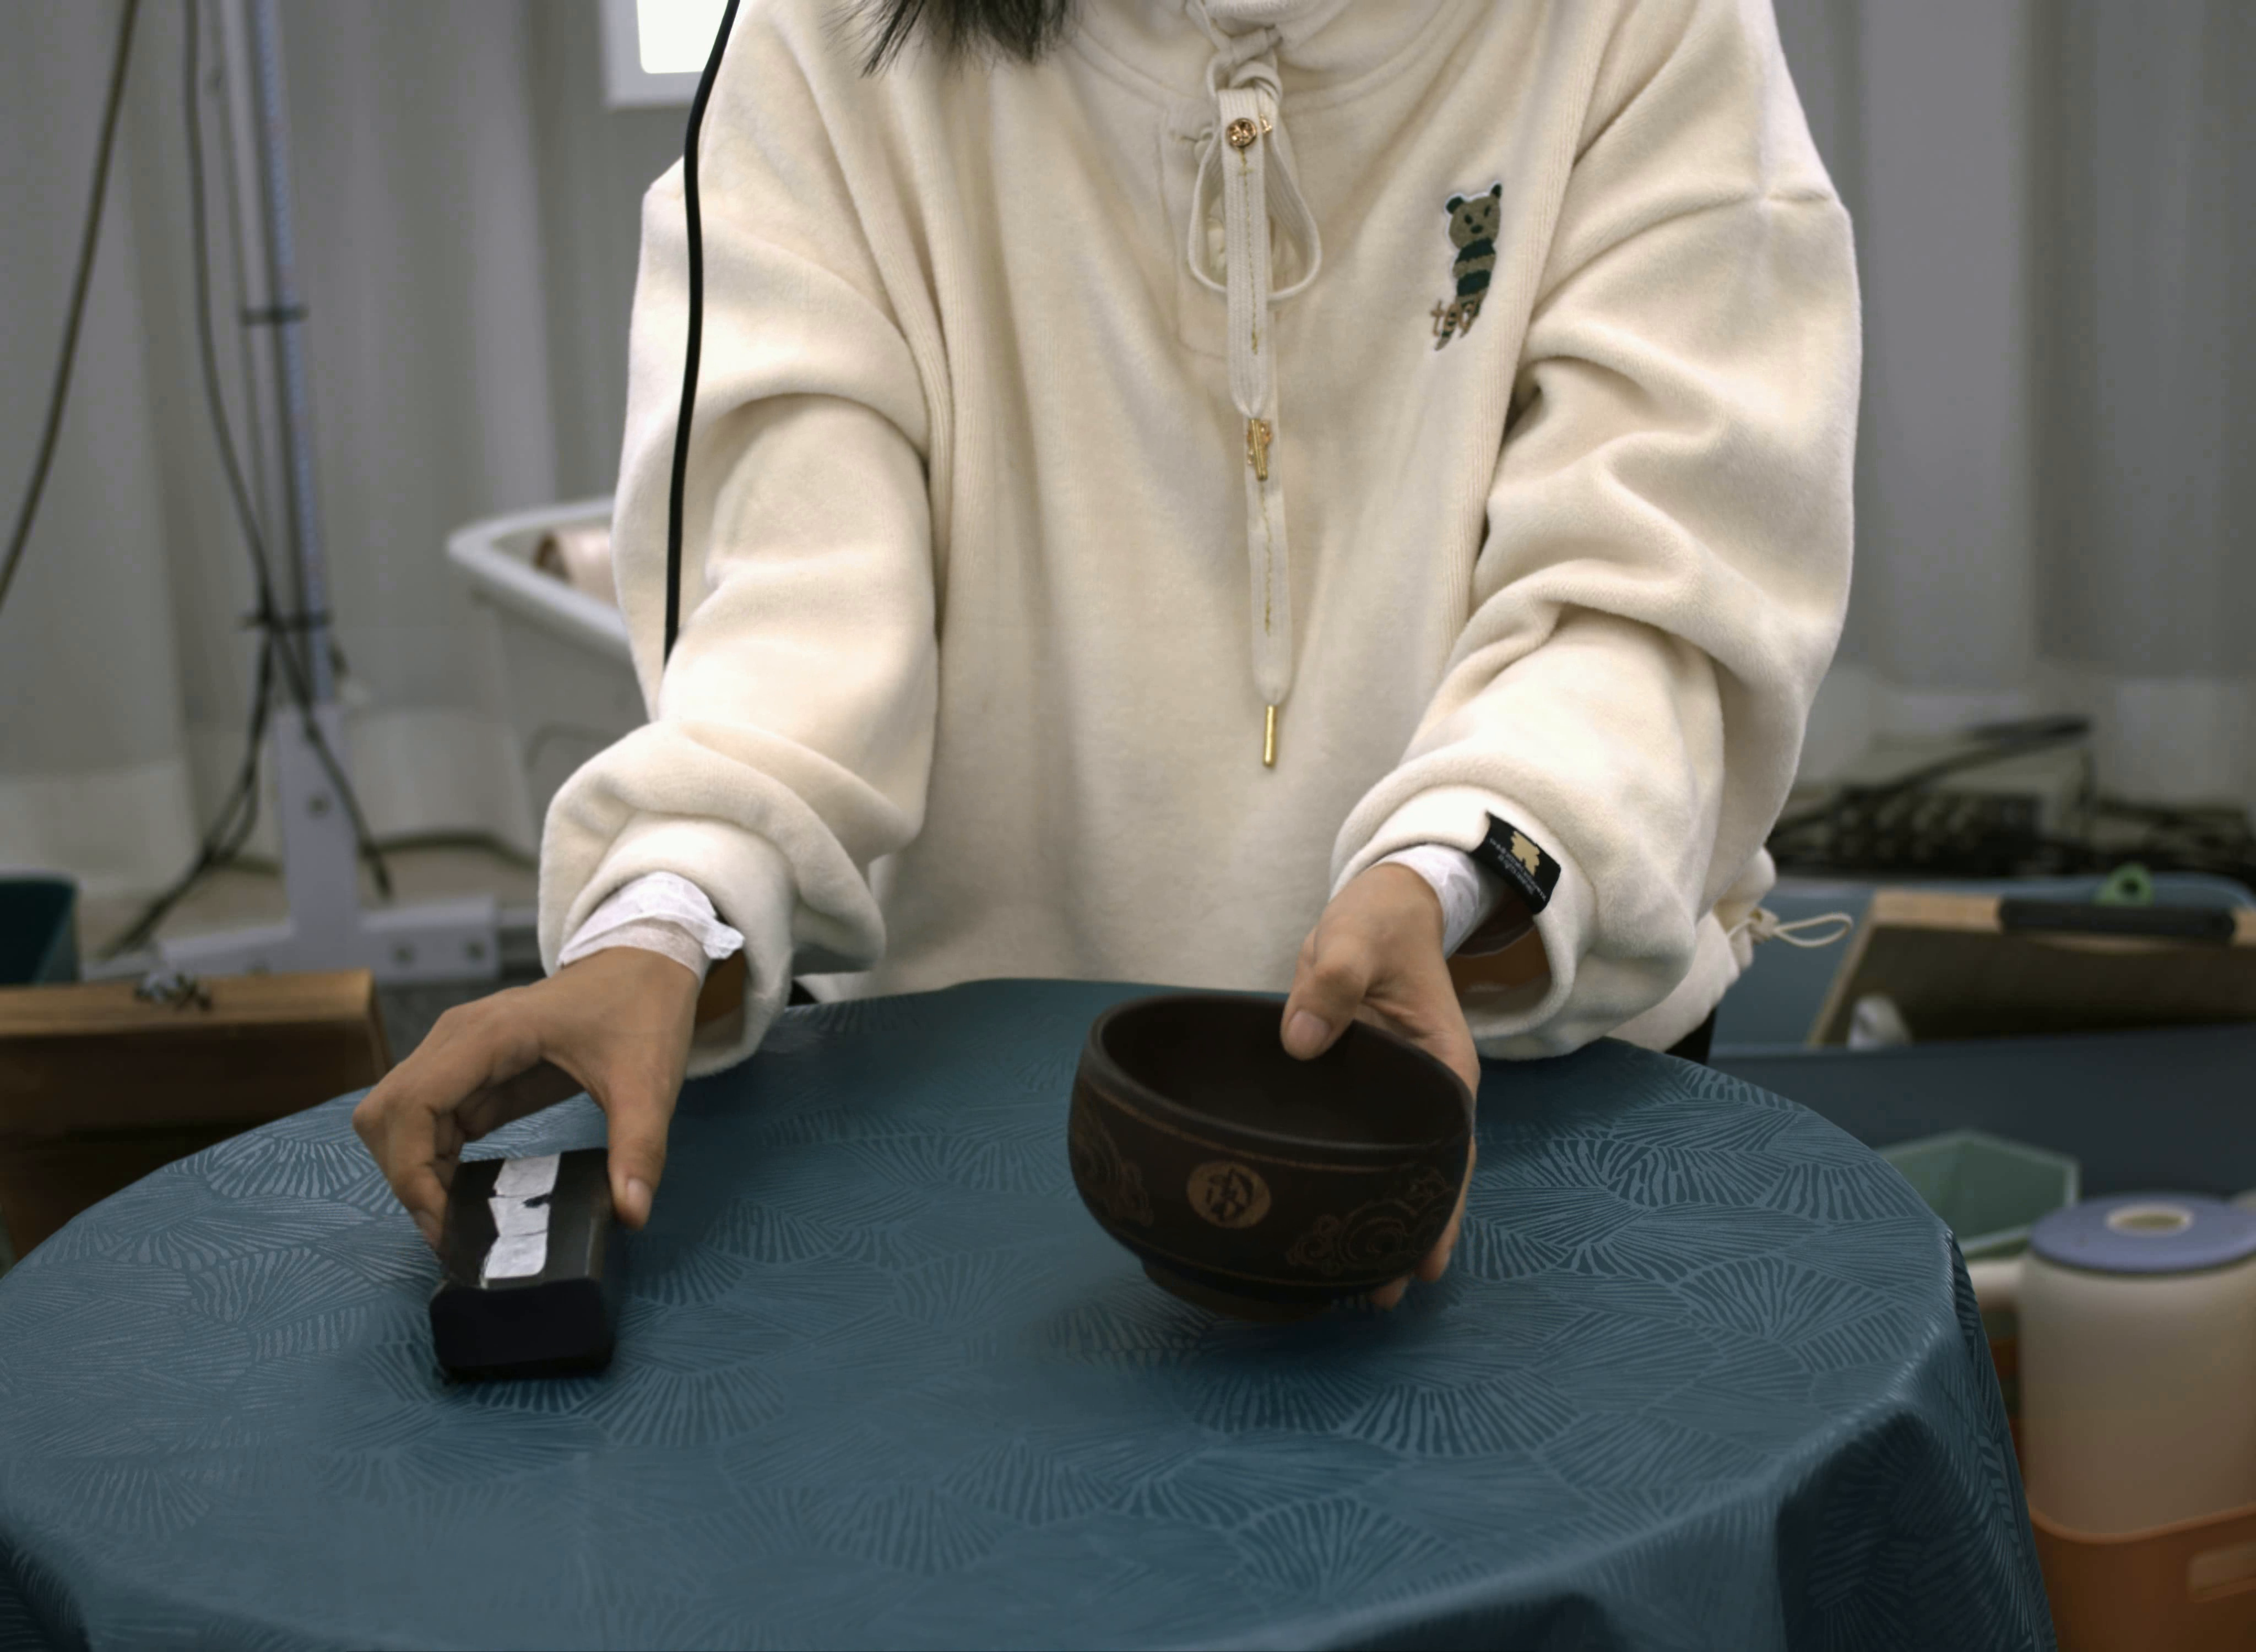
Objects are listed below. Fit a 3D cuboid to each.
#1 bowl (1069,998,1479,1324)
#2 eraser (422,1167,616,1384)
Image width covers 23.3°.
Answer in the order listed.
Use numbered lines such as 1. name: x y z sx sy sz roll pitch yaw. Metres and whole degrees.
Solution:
1. bowl: 0.039 0.102 1.587 0.117 0.069 0.119 8 16 -3
2. eraser: -0.179 0.133 1.628 0.053 0.030 0.126 -4 13 -3
